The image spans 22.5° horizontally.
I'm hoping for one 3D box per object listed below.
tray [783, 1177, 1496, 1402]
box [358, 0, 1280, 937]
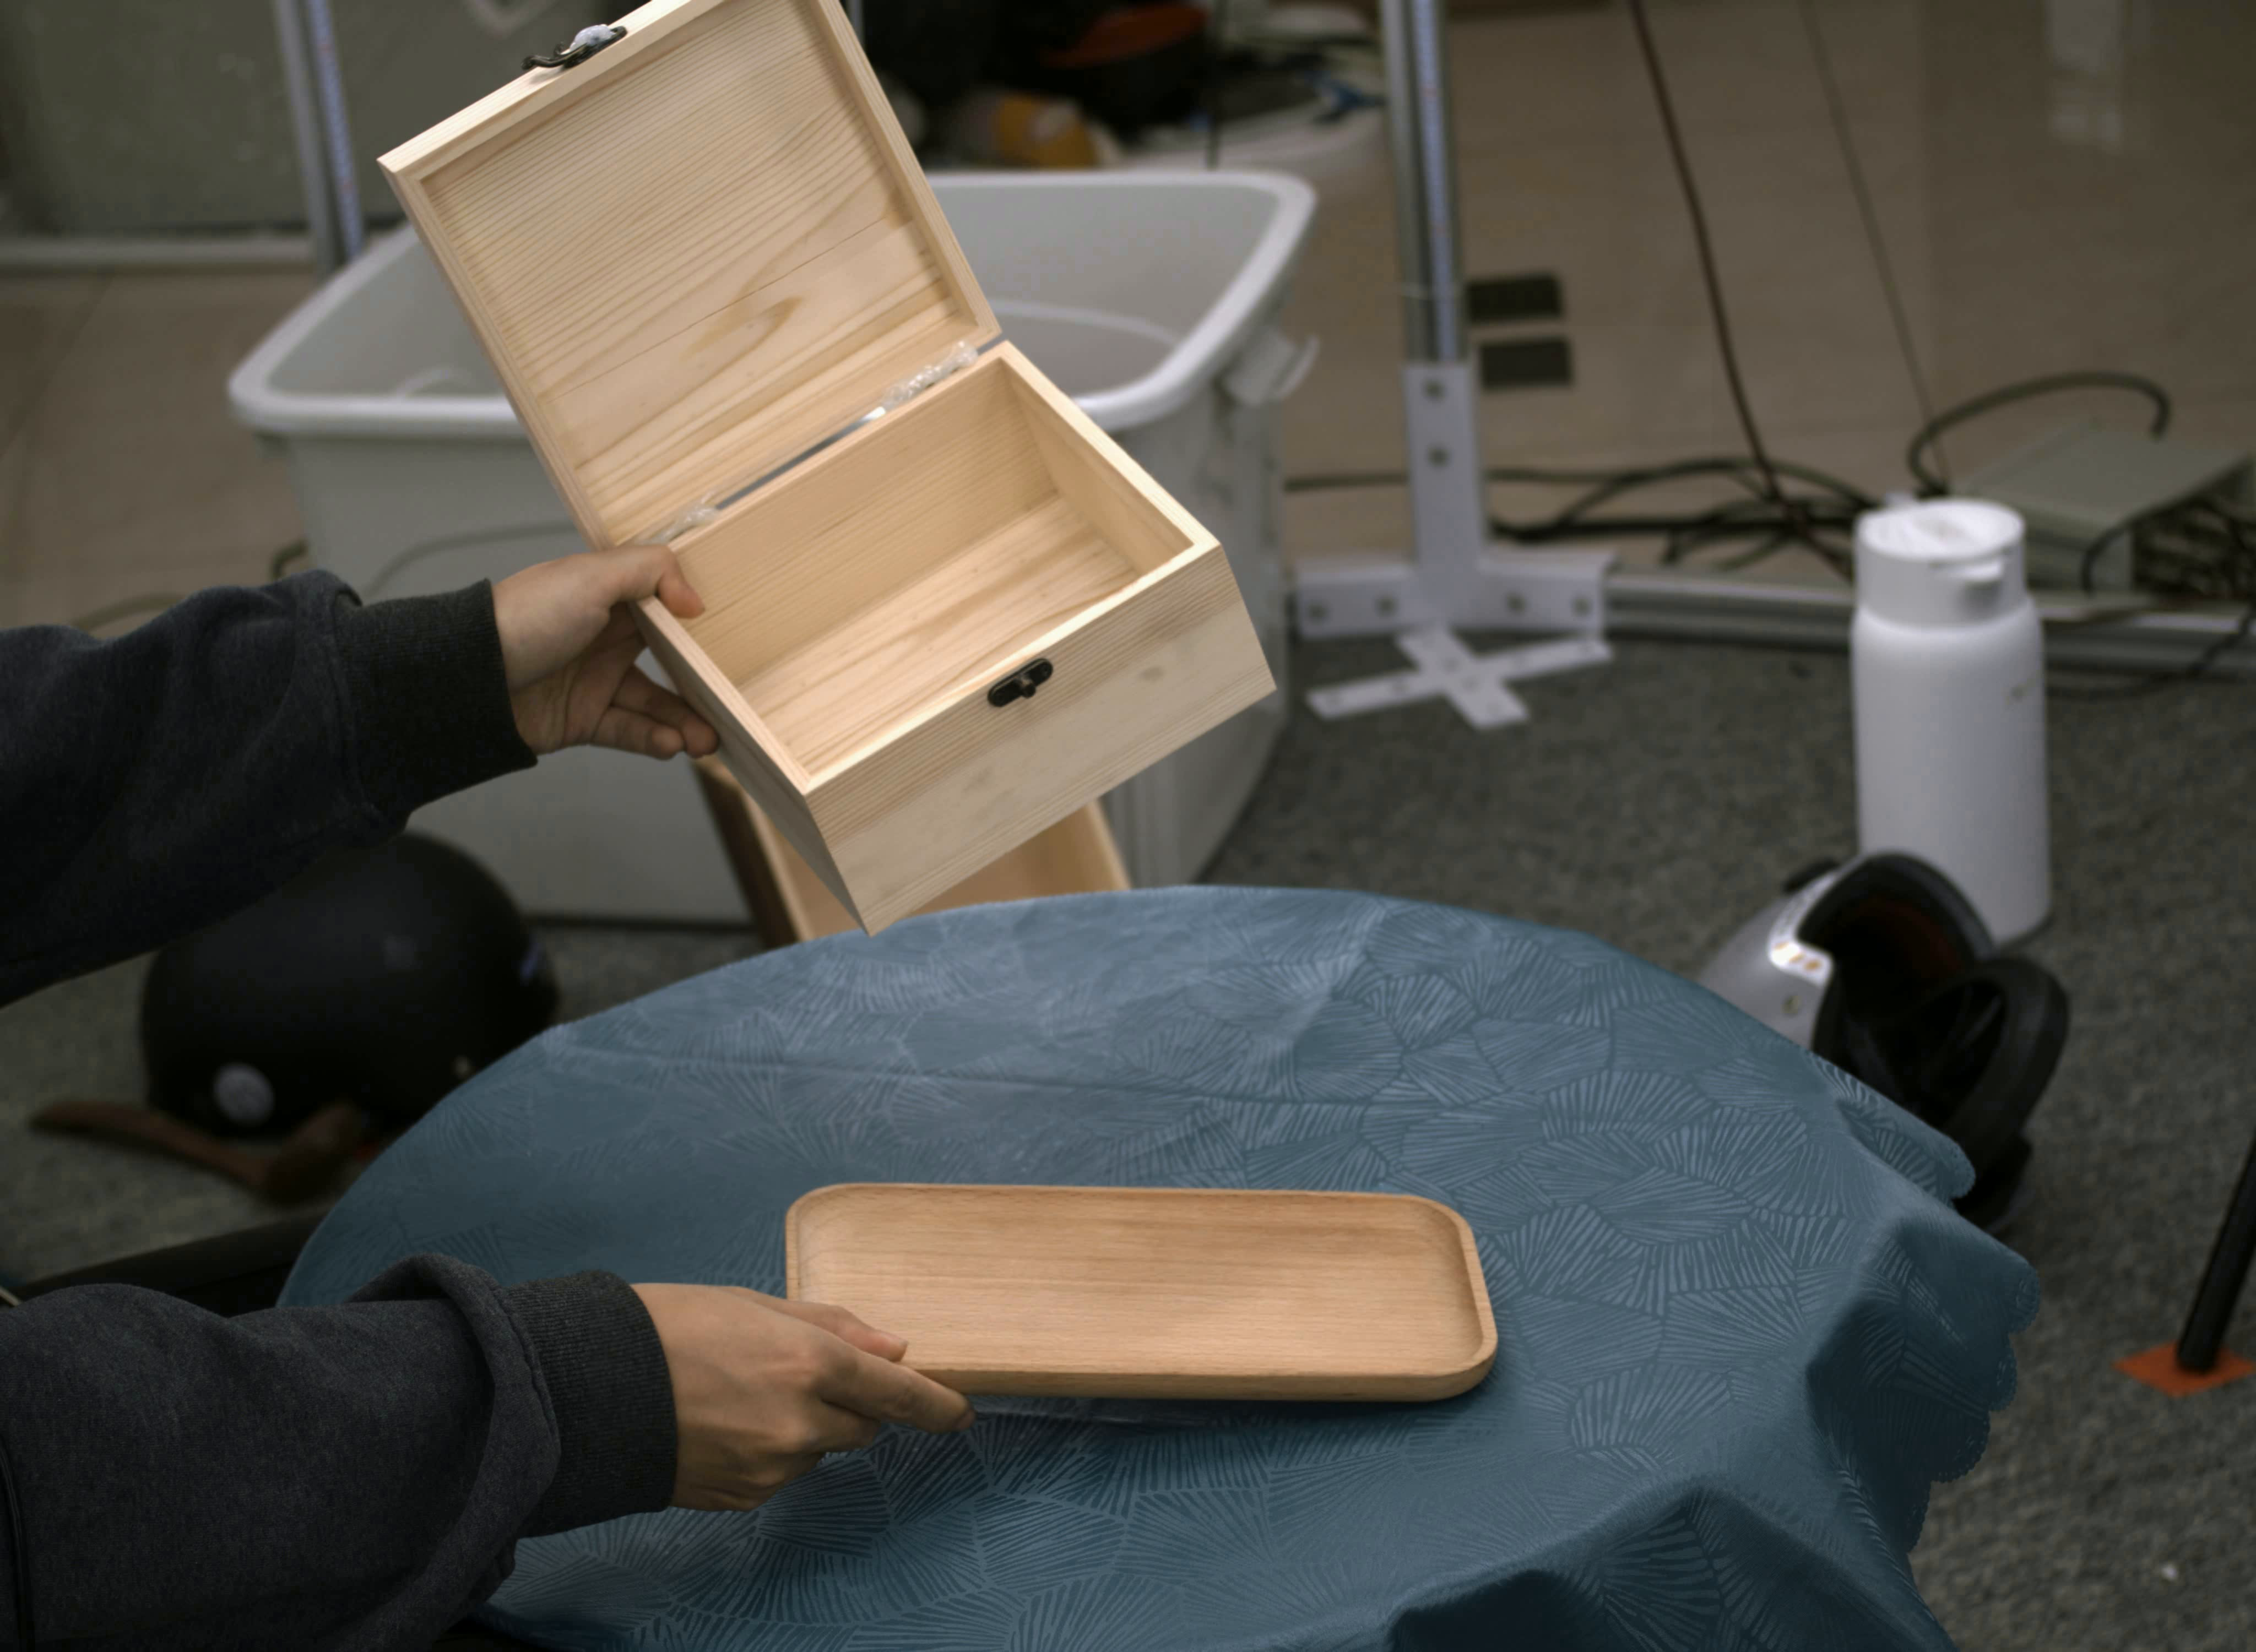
[{"bbox_3d":[0.003,0.165,2.018,0.250,0.023,0.128,1,25,-4],"label":"tray"},{"bbox_3d":[-0.115,-0.150,2.106,0.181,0.257,0.261,-34,40,-8],"label":"box"}]
